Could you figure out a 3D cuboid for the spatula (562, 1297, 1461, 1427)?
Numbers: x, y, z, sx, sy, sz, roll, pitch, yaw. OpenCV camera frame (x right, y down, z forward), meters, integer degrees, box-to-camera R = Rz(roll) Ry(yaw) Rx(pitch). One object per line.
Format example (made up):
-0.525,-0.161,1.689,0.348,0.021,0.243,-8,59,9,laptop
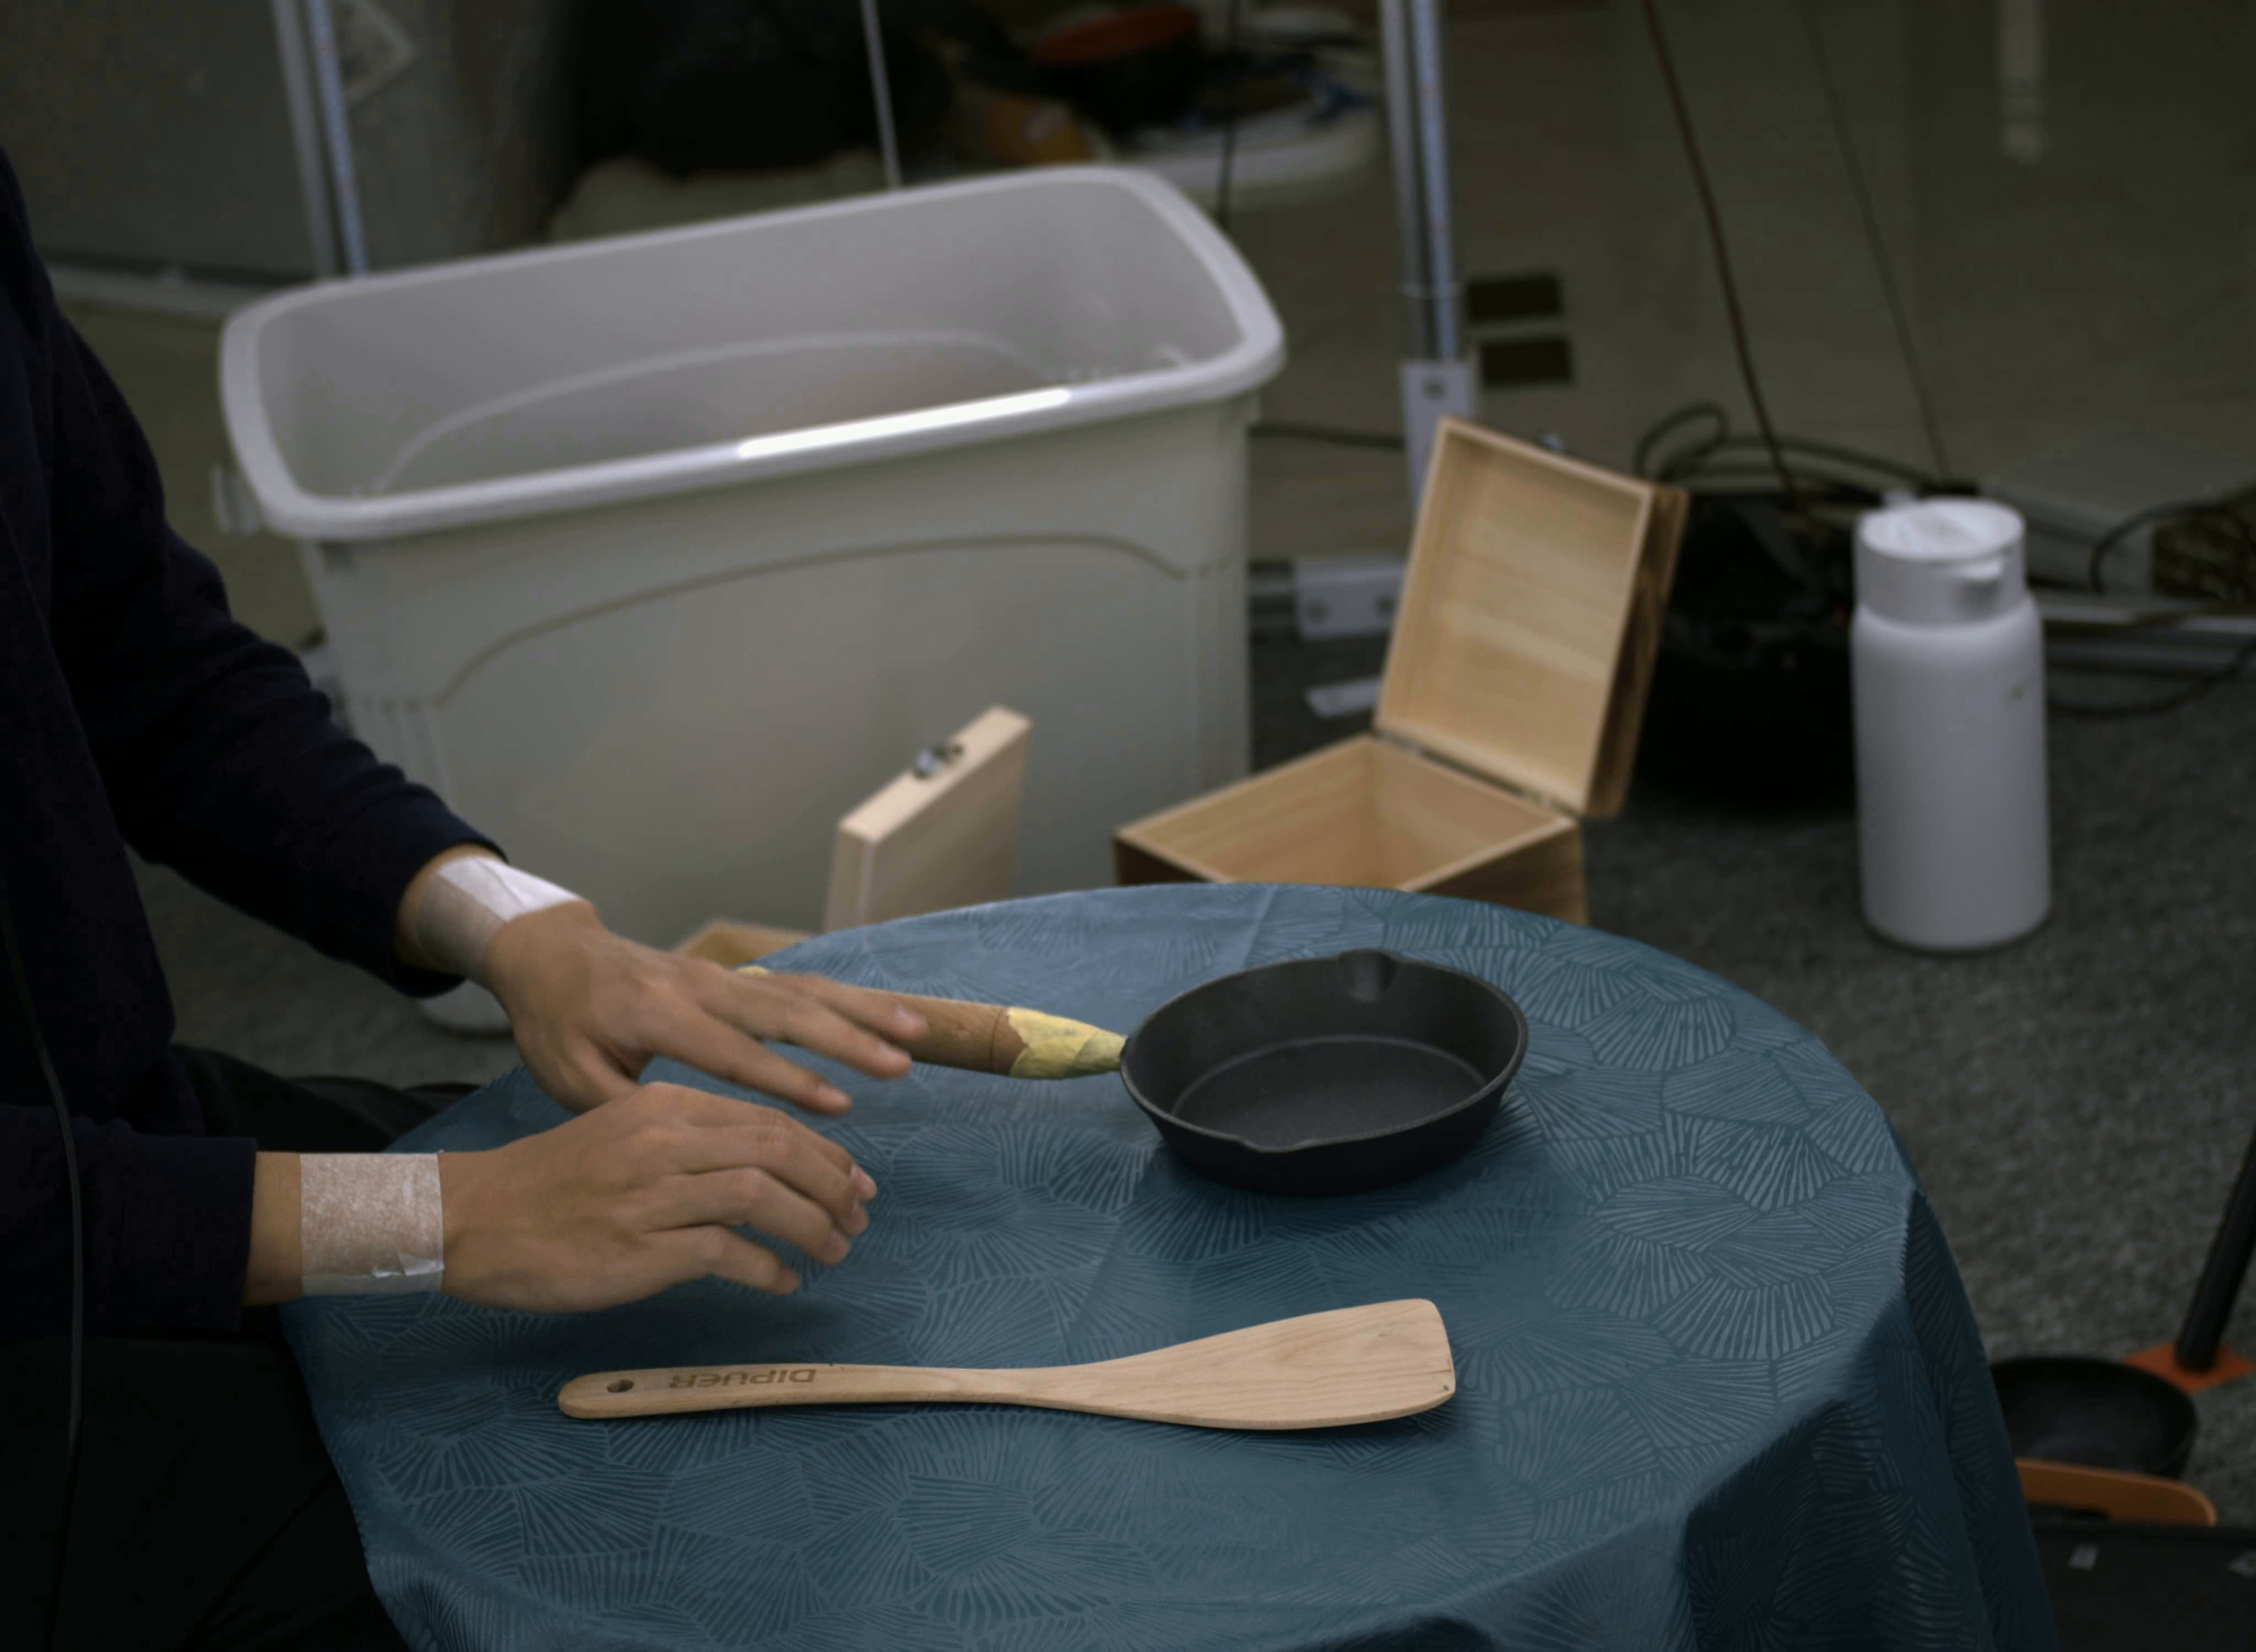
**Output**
-0.042,0.195,2.019,0.327,0.017,0.079,-2,24,9,spatula

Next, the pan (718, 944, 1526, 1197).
-0.005,0.087,2.198,0.323,0.050,0.166,3,27,17,pan
